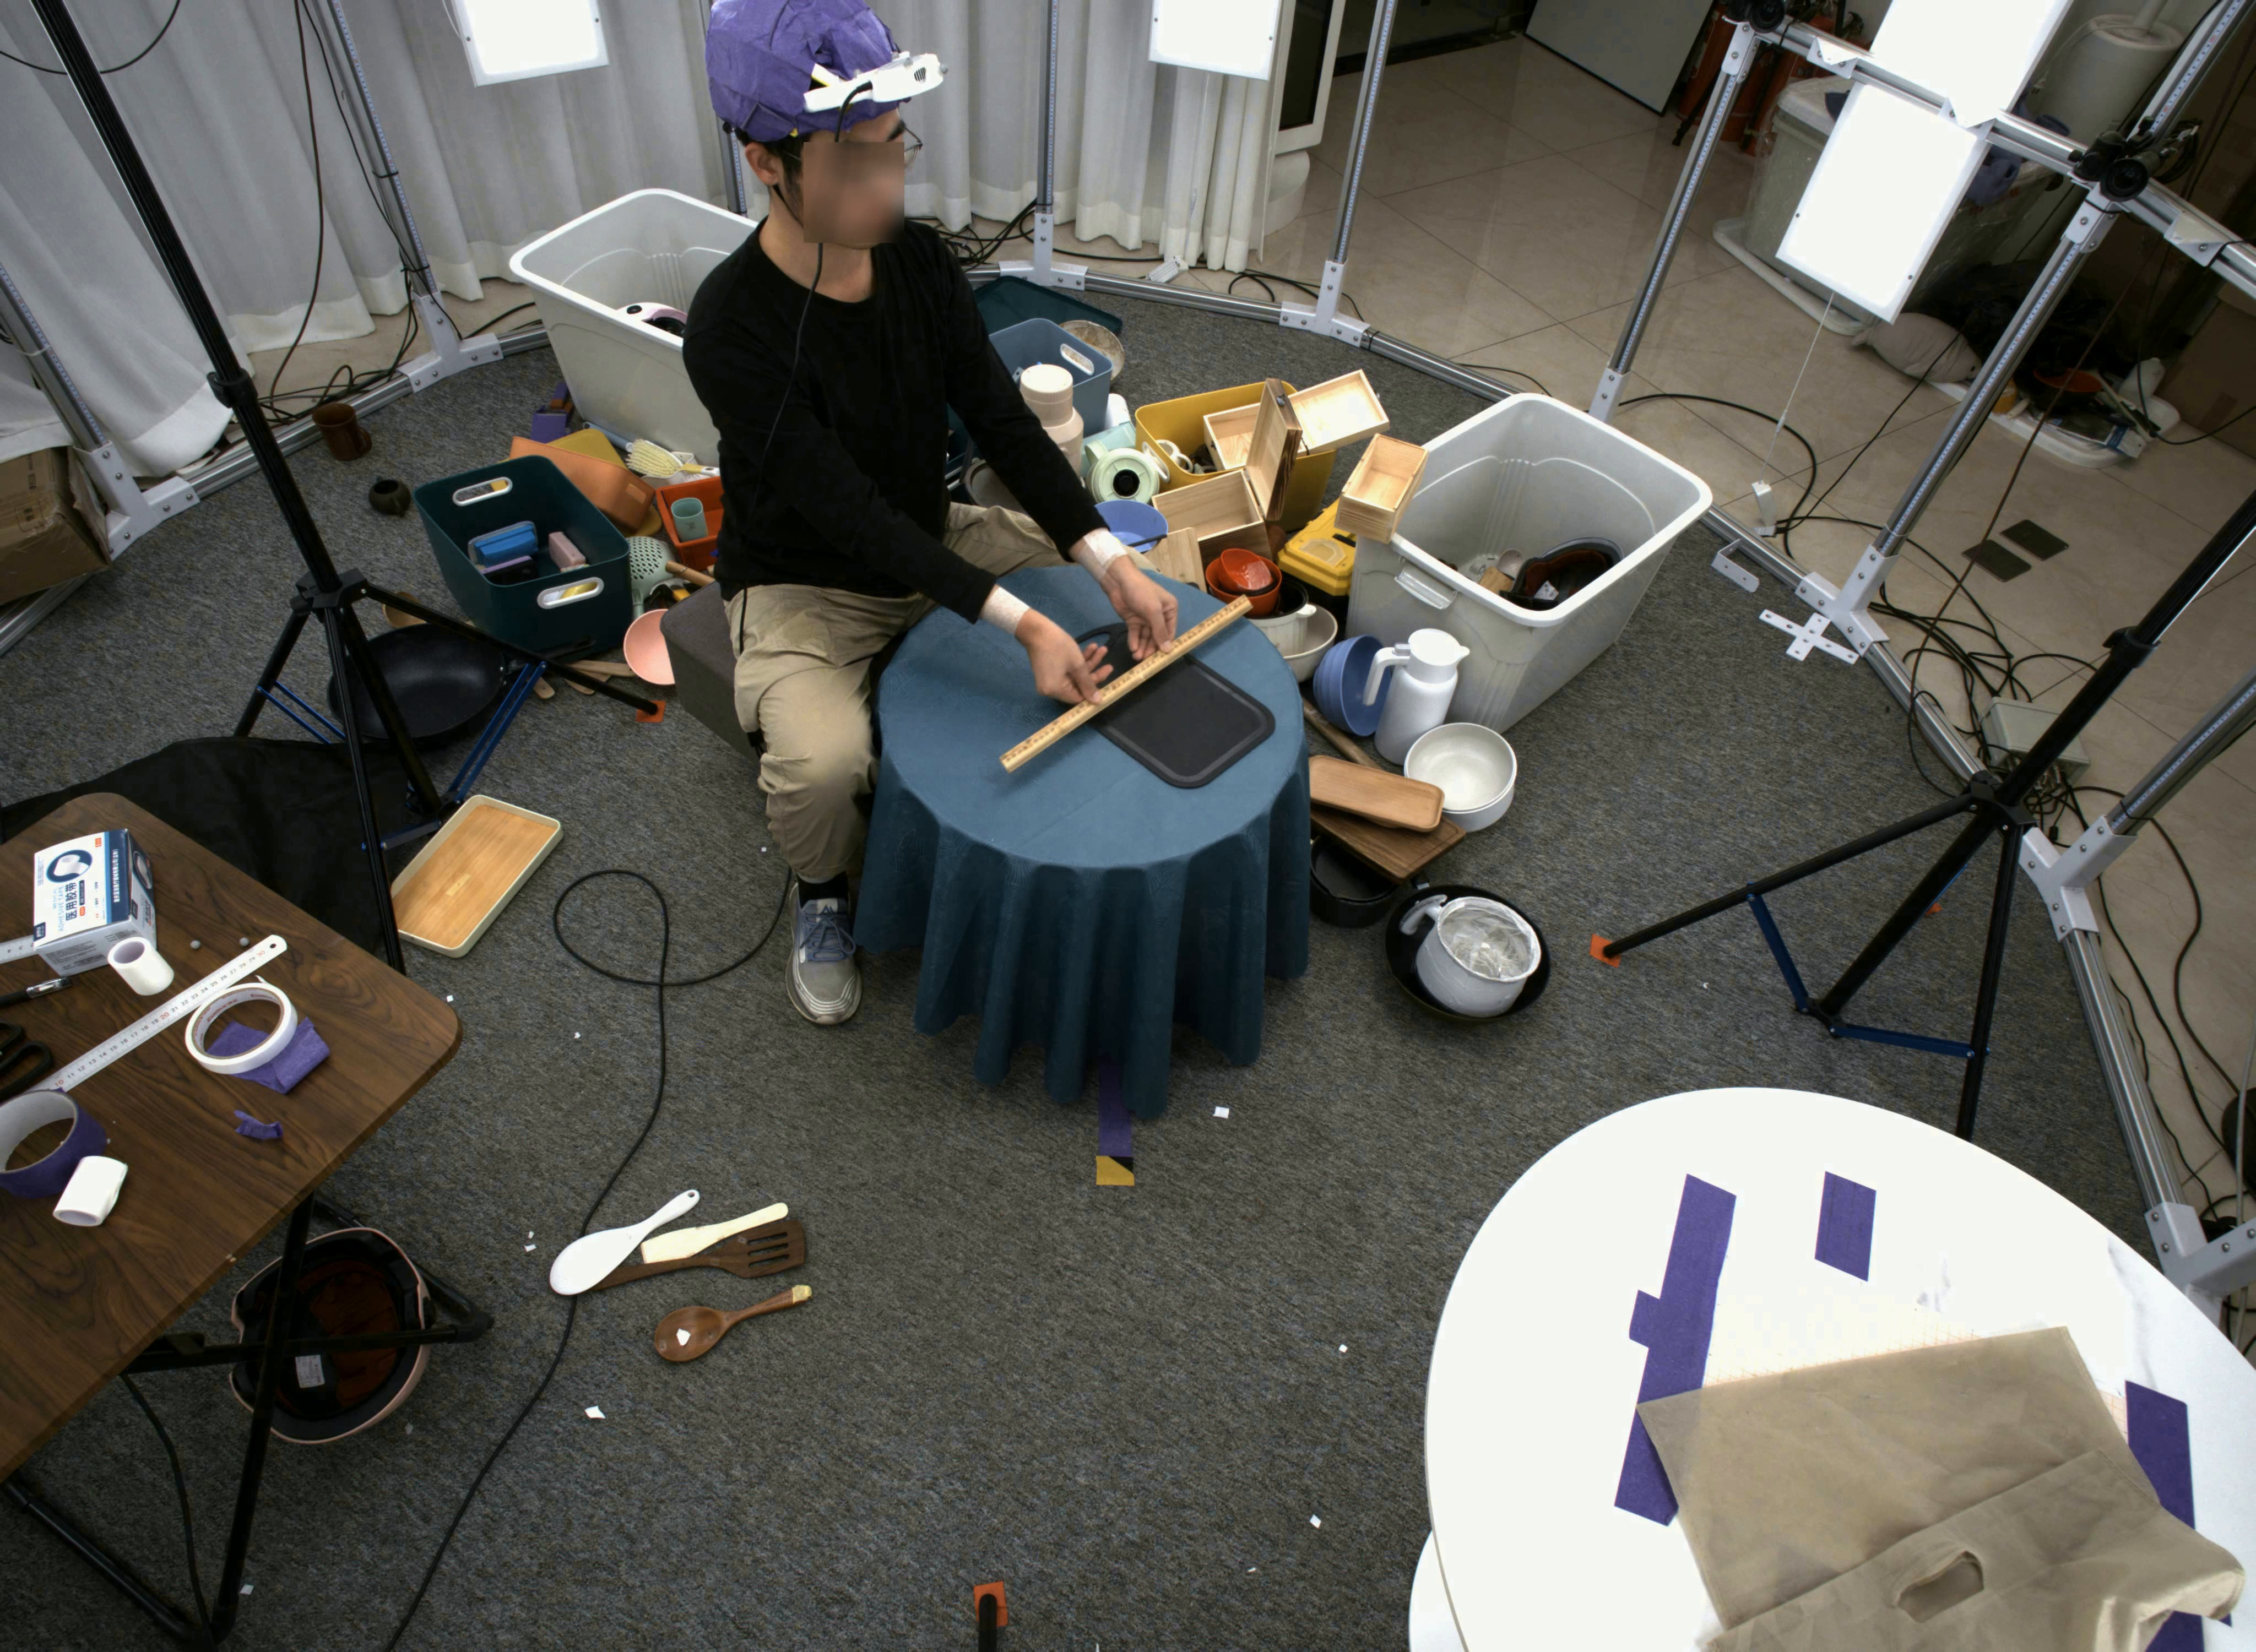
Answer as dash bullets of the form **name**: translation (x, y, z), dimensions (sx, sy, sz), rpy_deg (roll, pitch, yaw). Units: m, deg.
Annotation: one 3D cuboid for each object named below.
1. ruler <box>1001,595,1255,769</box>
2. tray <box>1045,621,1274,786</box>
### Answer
- **ruler**: translation (0.012, -0.214, 1.817), dimensions (0.505, 0.006, 0.027), rpy_deg (-36, 90, -31)
- **tray**: translation (0.037, -0.185, 1.828), dimensions (0.213, 0.009, 0.330), rpy_deg (-35, 60, -29)
